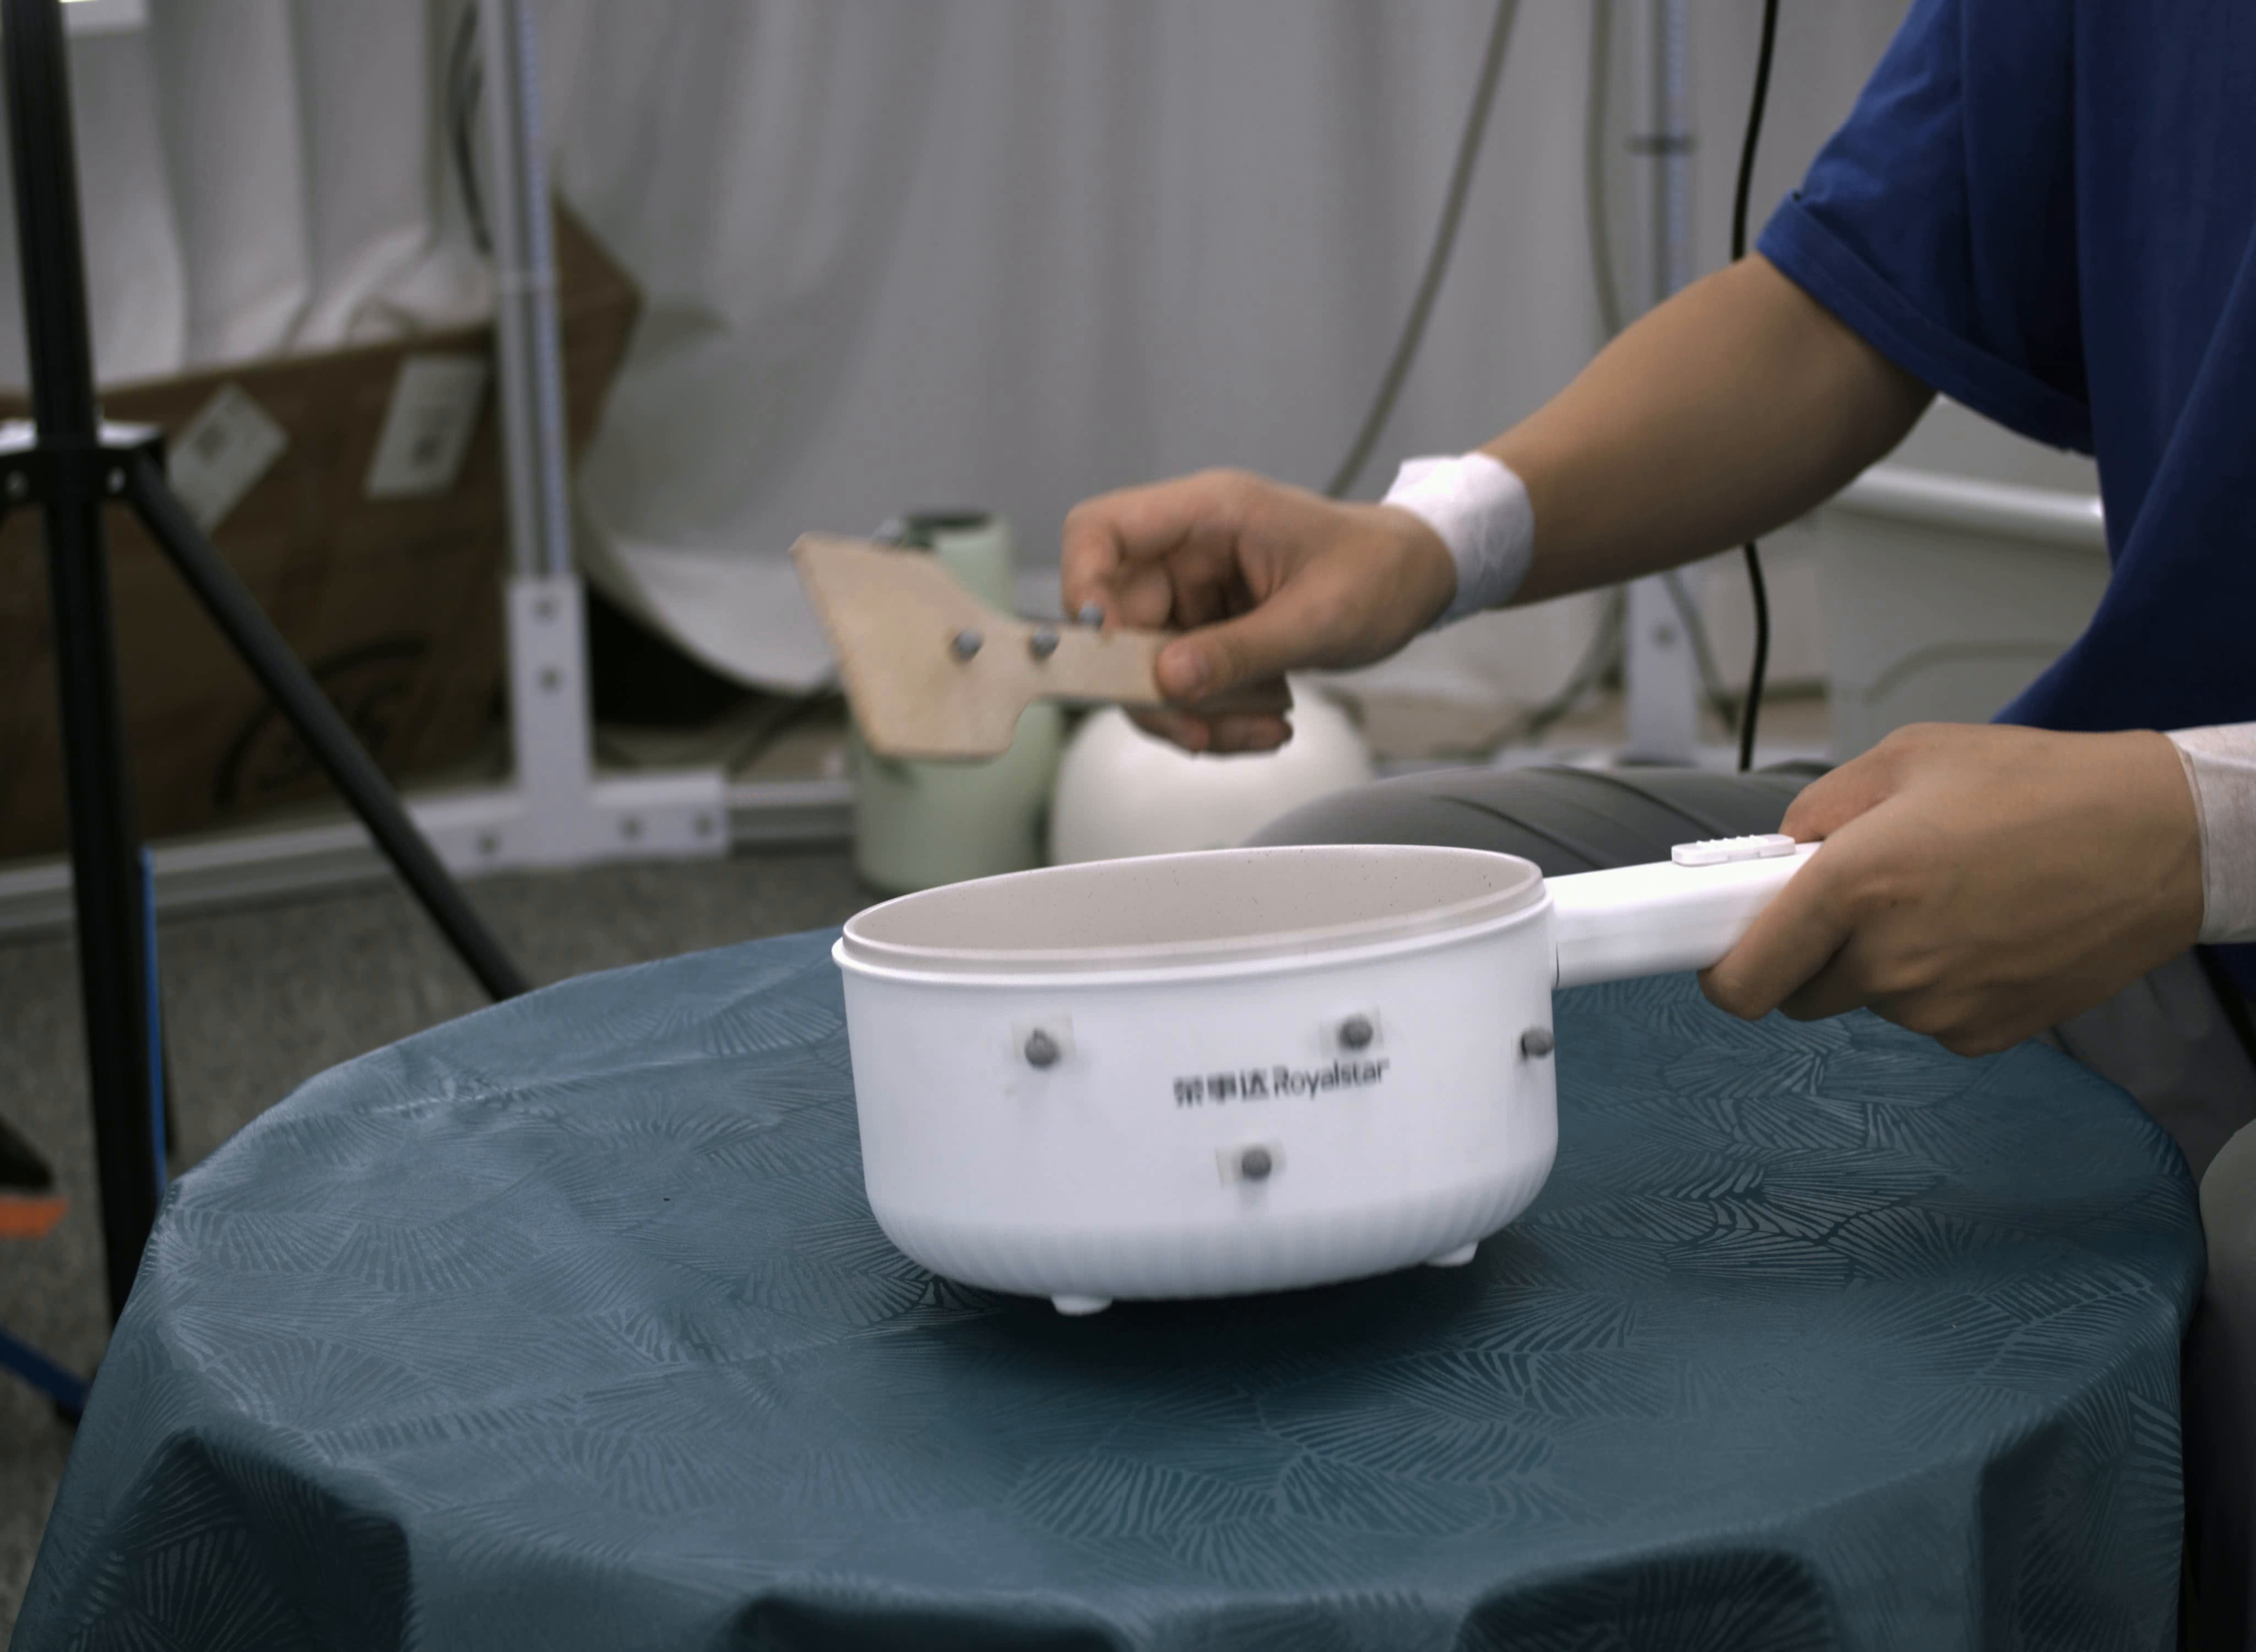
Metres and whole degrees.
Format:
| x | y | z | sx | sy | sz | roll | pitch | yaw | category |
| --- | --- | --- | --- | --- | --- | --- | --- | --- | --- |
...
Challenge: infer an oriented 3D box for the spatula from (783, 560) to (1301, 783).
| x | y | z | sx | sy | sz | roll | pitch | yaw | category |
| --- | --- | --- | --- | --- | --- | --- | --- | --- | --- |
| -0.019 | -0.046 | 1.675 | 0.011 | 0.073 | 0.286 | -32 | -16 | 26 | spatula |

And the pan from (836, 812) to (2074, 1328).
| x | y | z | sx | sy | sz | roll | pitch | yaw | category |
| --- | --- | --- | --- | --- | --- | --- | --- | --- | --- |
| 0.096 | 0.064 | 1.489 | 0.350 | 0.102 | 0.203 | -7 | 7 | -12 | pan |
